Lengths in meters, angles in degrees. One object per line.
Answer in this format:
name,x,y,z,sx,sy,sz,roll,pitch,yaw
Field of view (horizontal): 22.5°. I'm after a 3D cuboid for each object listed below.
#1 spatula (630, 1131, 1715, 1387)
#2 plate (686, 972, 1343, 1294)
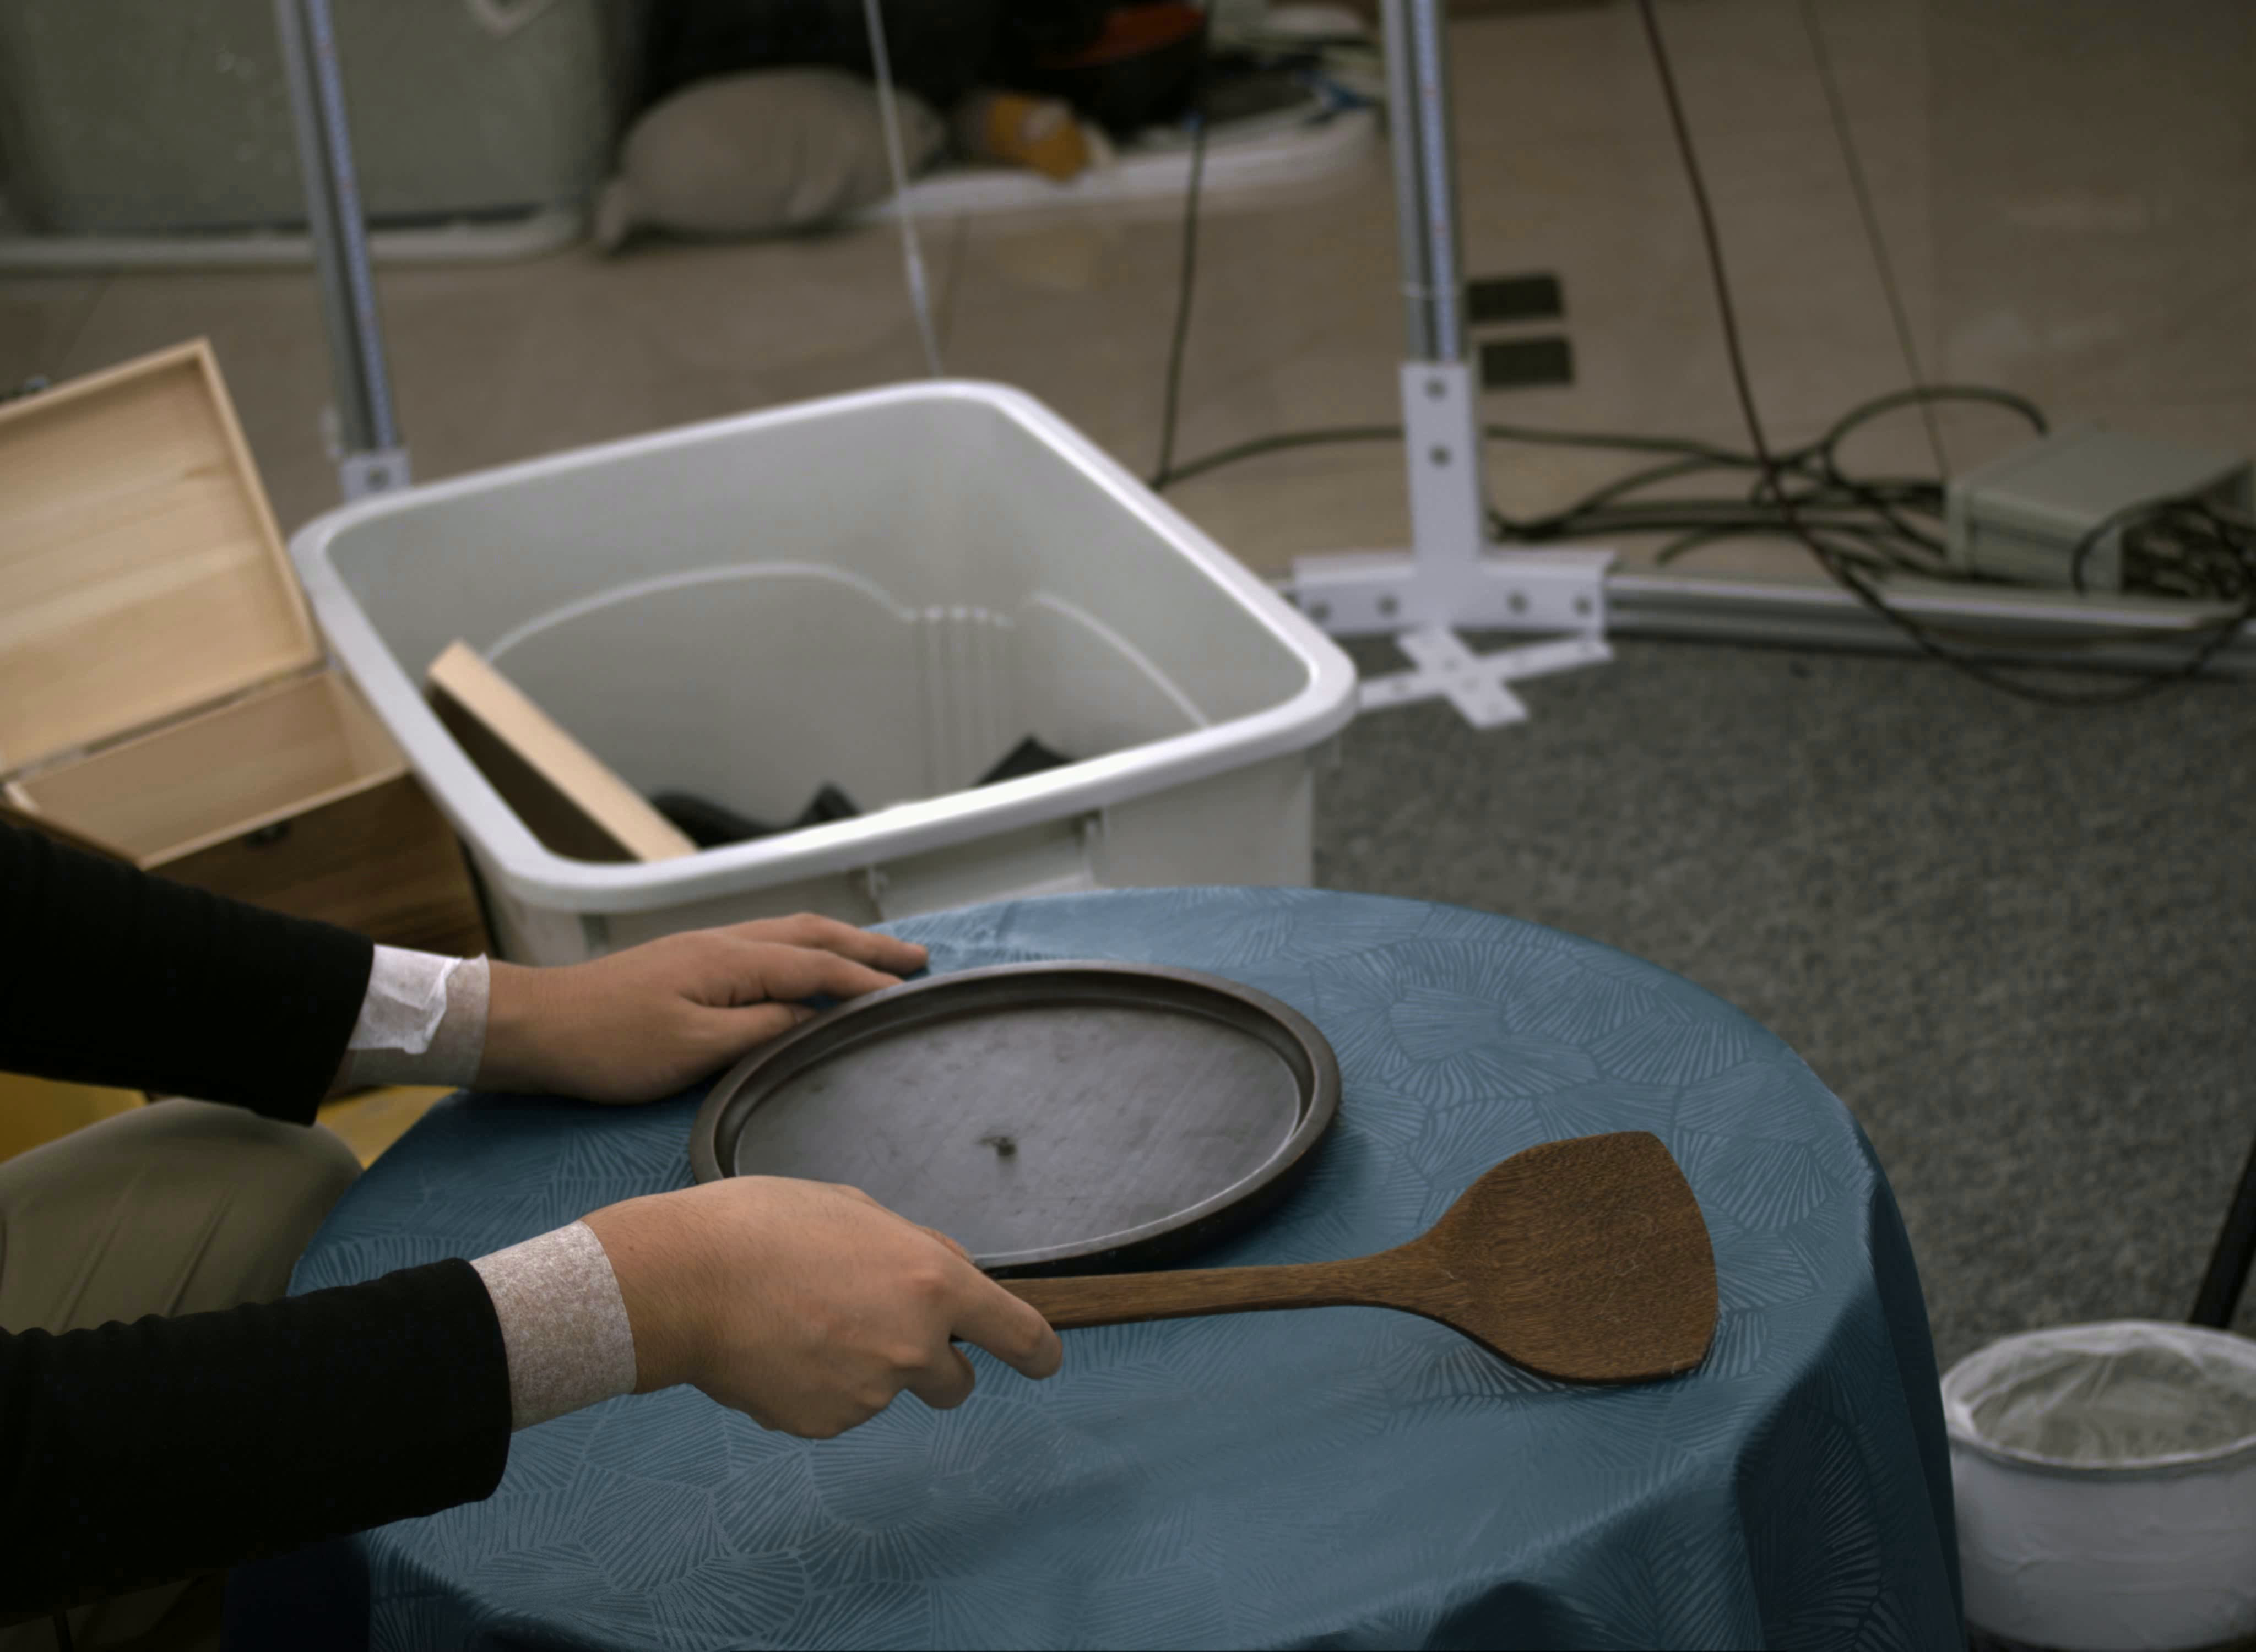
spatula,0.019,0.162,1.961,0.385,0.016,0.095,-3,65,-15
plate,-0.043,0.118,2.179,0.254,0.029,0.251,-4,26,2
